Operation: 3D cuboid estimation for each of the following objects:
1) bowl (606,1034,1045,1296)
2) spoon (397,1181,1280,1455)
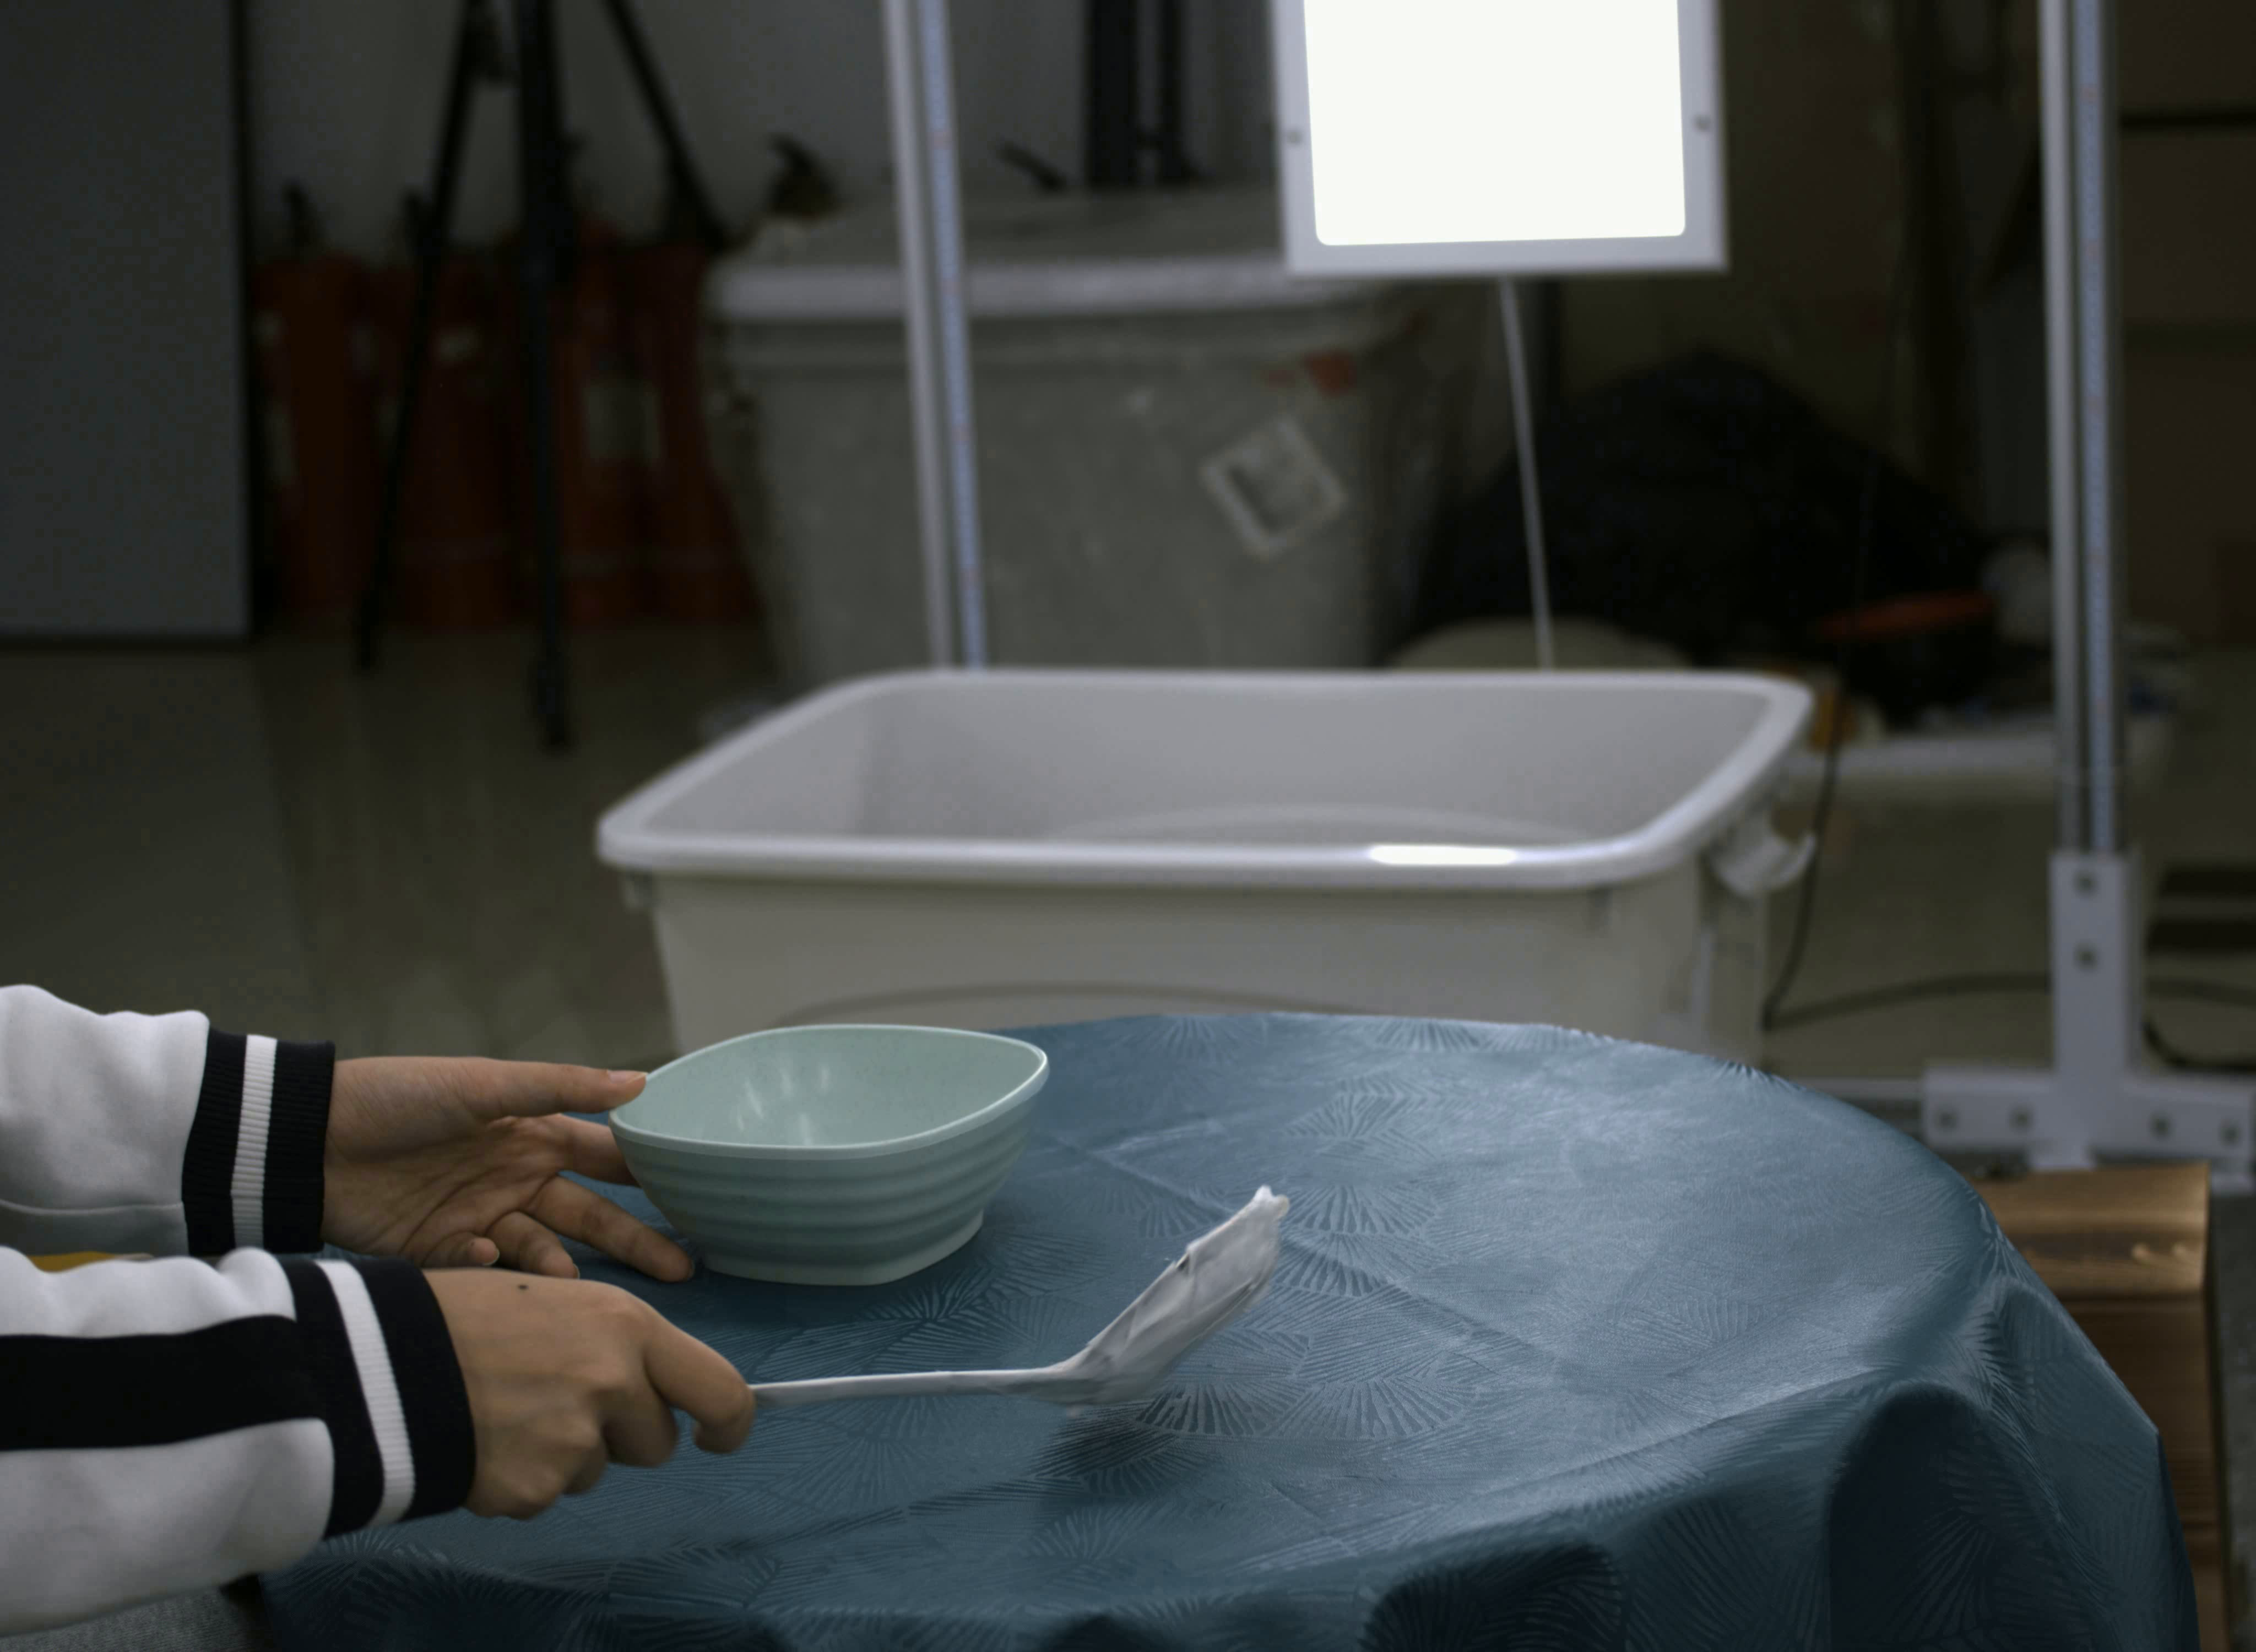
[{"bbox_3d":[-0.099,0.117,1.863,0.151,0.059,0.151,-5,14,0],"label":"bowl"},{"bbox_3d":[-0.082,0.150,1.629,0.273,0.102,0.059,-3,53,-15],"label":"spoon"}]
